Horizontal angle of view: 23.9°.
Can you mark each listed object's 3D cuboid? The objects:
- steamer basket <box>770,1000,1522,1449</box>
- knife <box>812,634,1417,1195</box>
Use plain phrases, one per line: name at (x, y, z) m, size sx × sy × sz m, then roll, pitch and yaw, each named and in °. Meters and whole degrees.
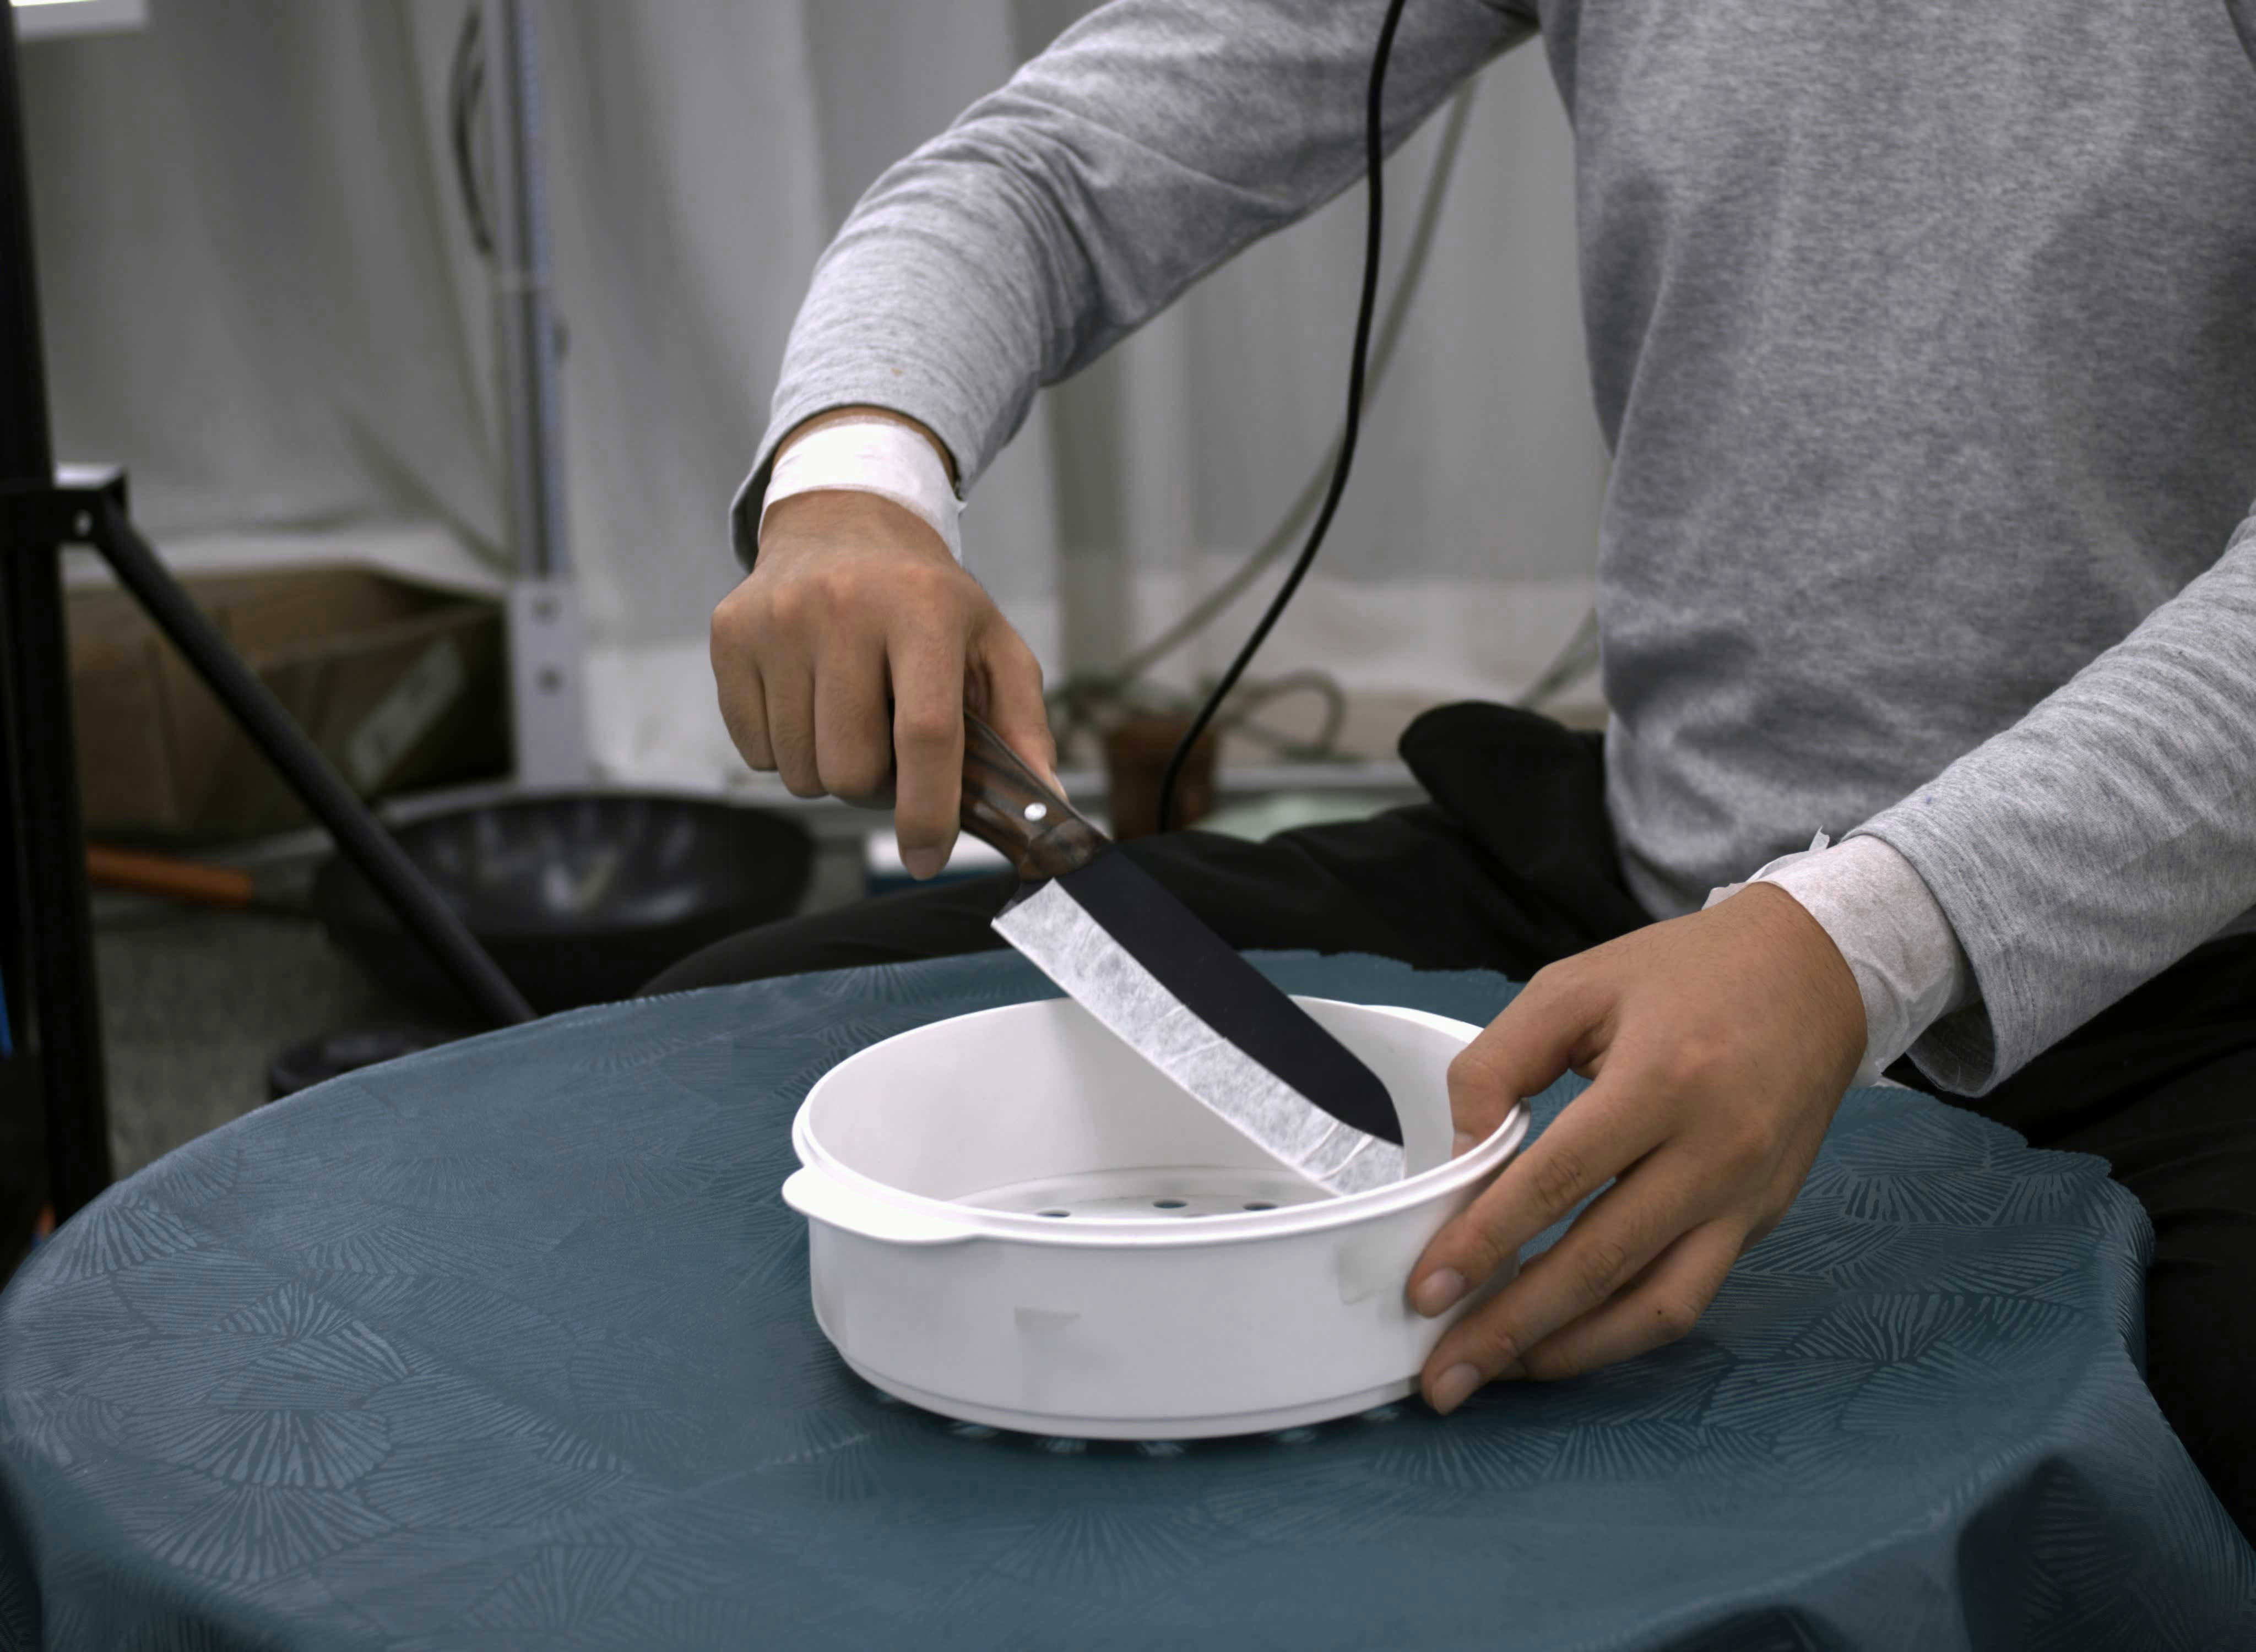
steamer basket at (0.007, 0.107, 1.441) m, size 0.225 × 0.069 × 0.206 m, roll -13°, pitch 19°, yaw -37°
knife at (-0.007, 0.026, 1.529) m, size 0.050 × 0.020 × 0.296 m, roll -34°, pitch 48°, yaw -15°
